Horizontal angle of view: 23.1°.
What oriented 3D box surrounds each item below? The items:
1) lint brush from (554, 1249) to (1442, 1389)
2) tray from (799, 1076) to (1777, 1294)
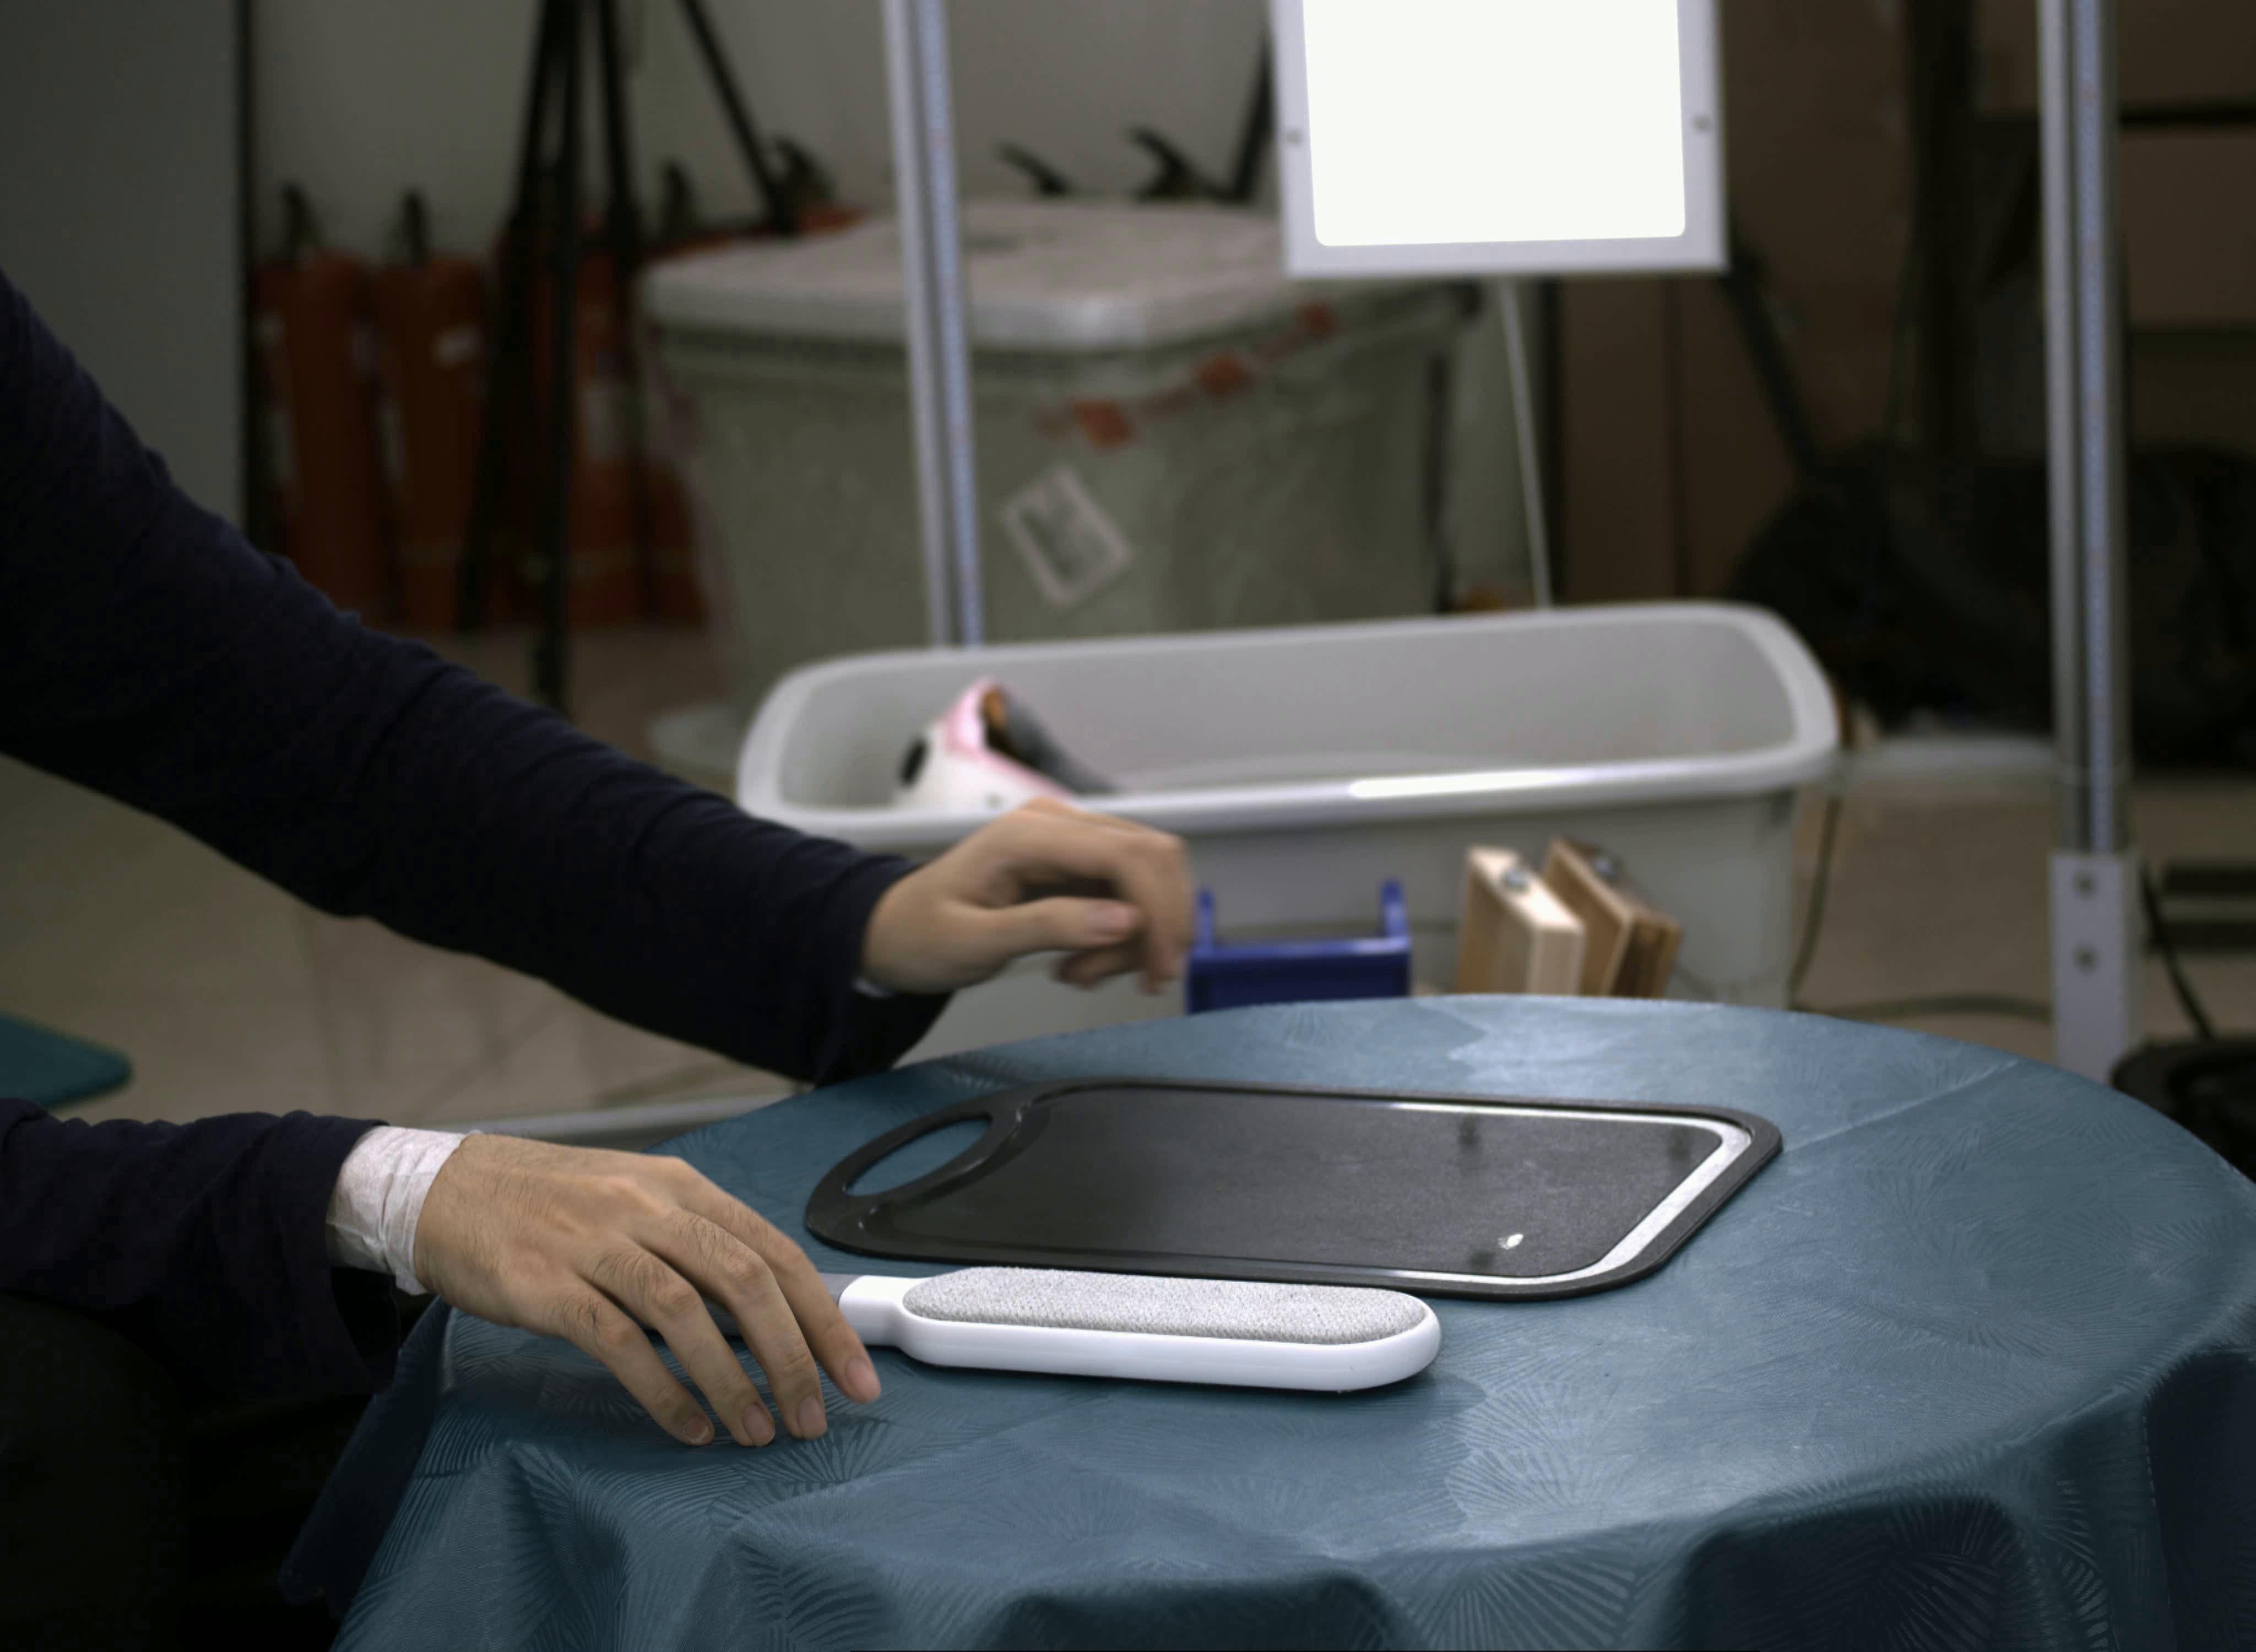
[{"bbox_3d":[-0.047,0.153,1.755,0.314,0.021,0.059,1,21,26],"label":"lint brush"},{"bbox_3d":[0.048,0.120,1.897,0.331,0.010,0.206,2,15,27],"label":"tray"}]
